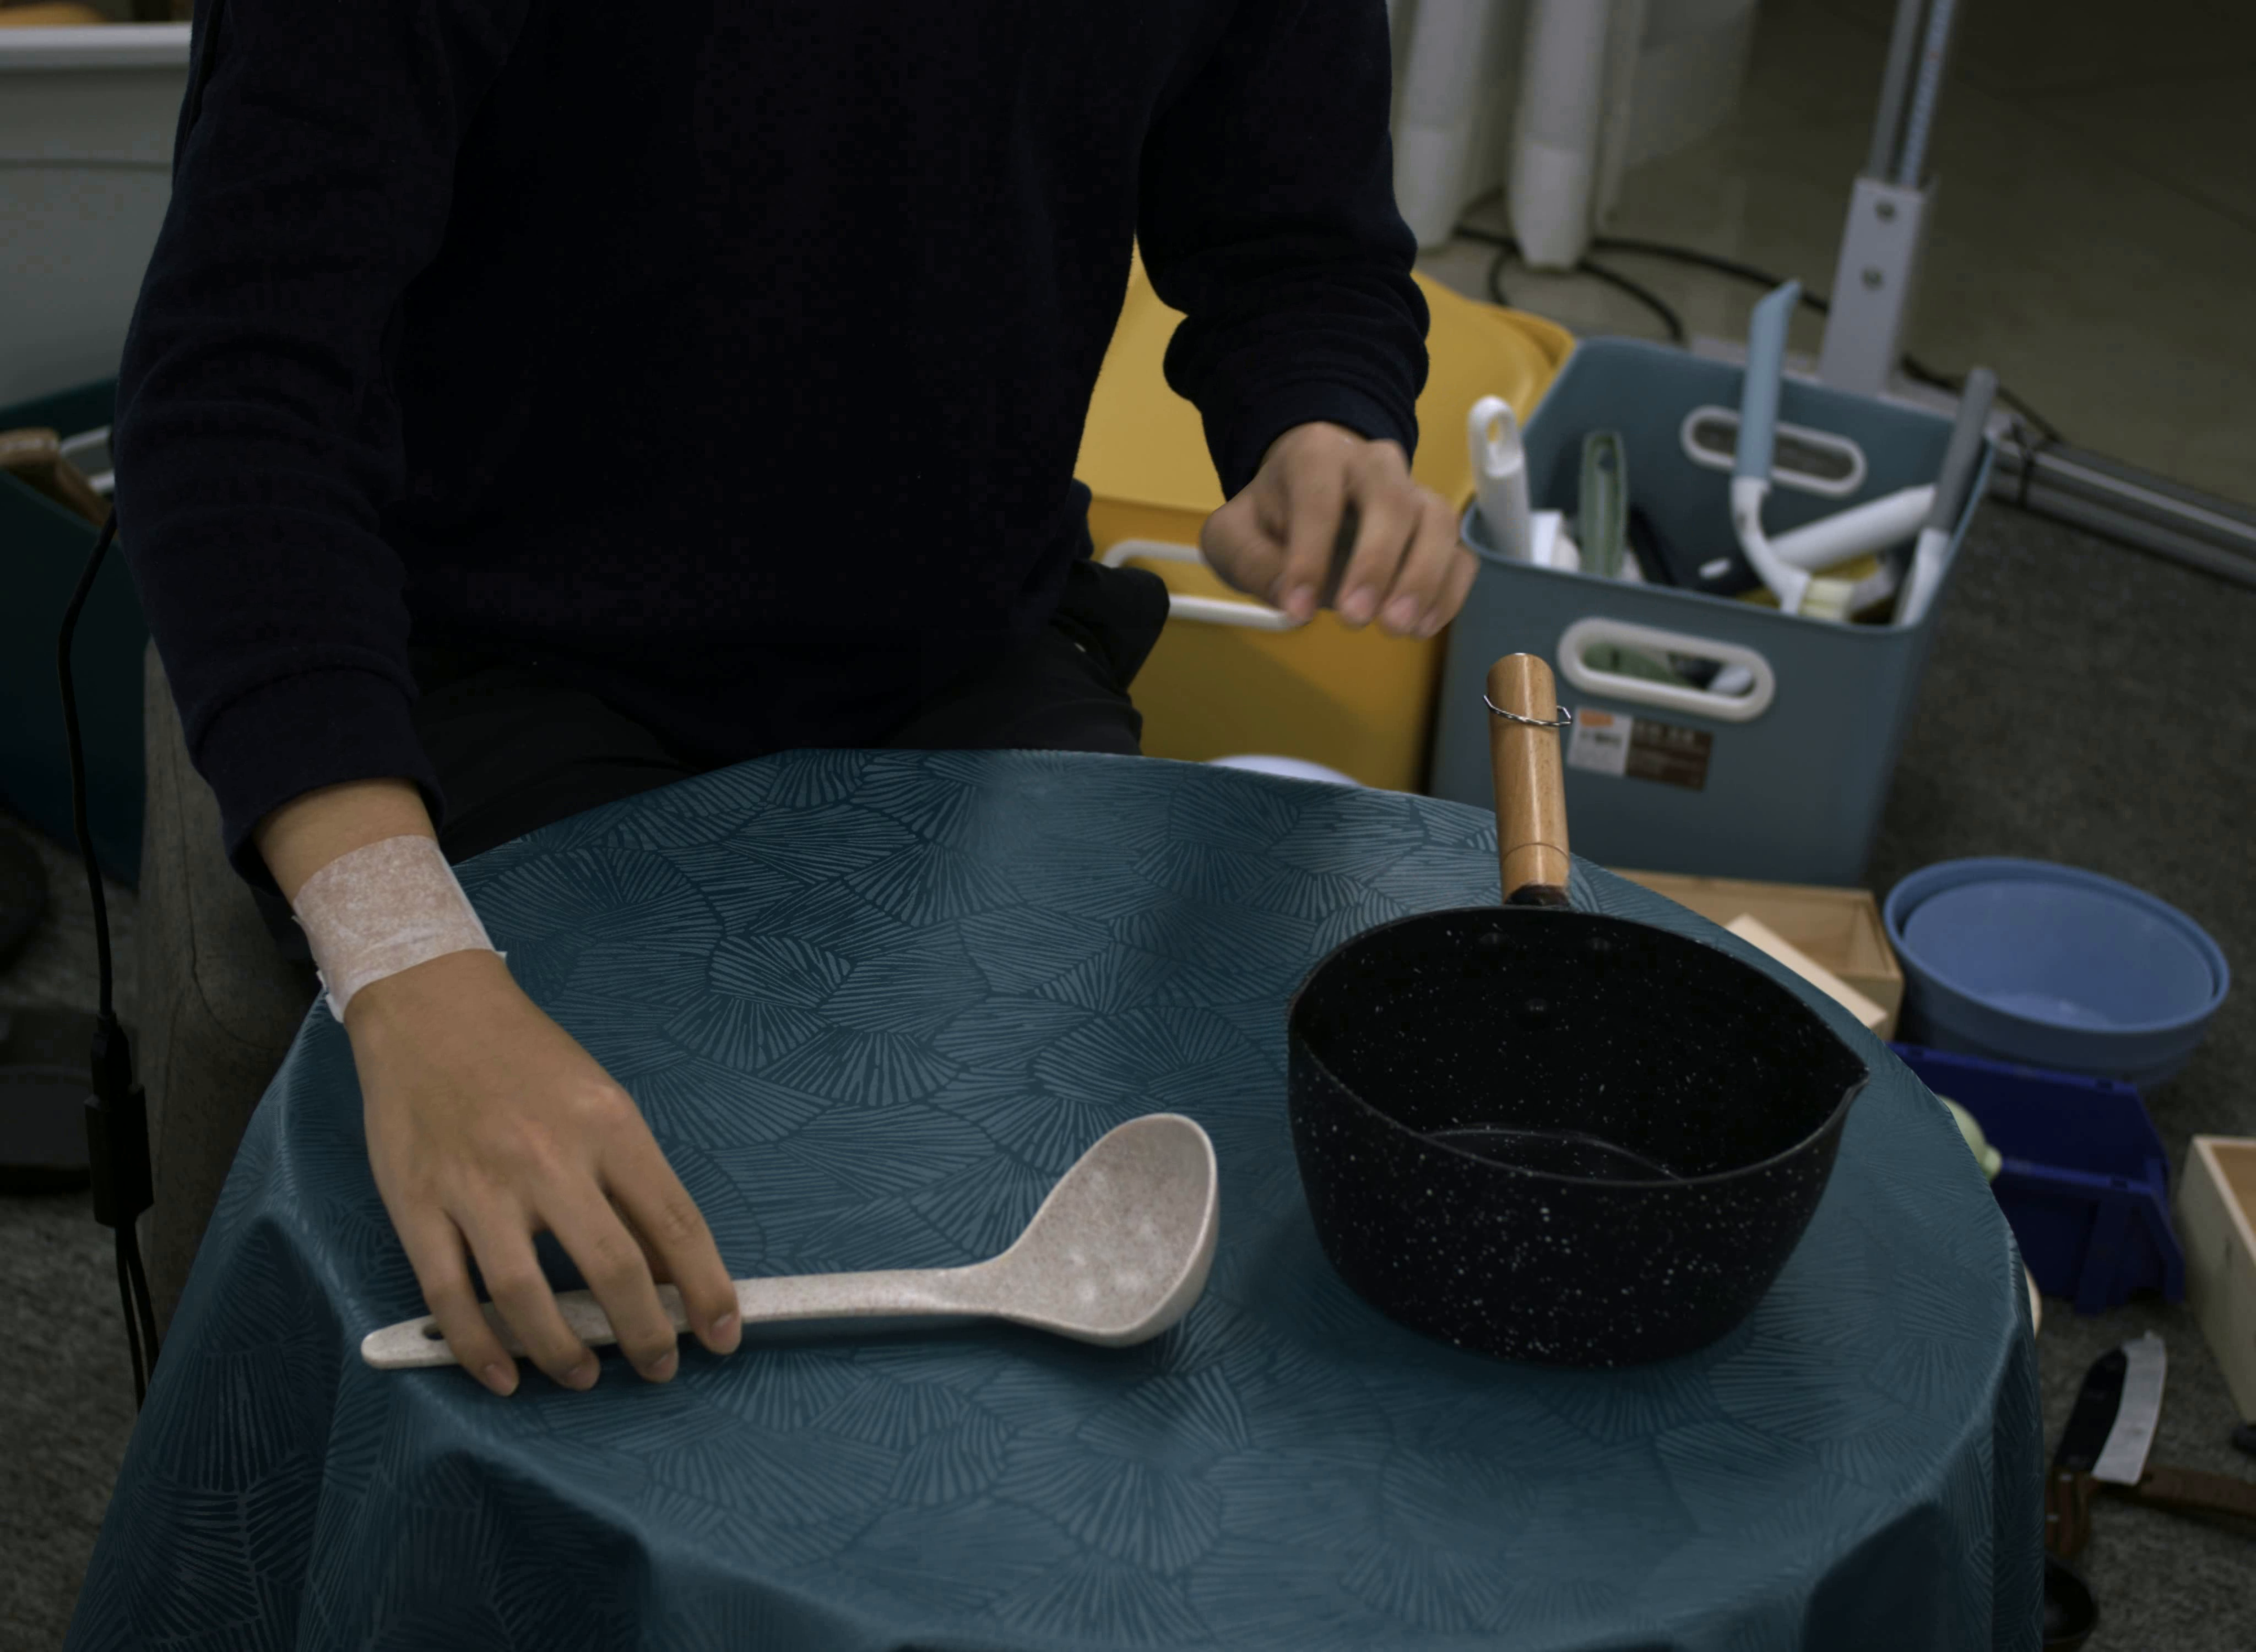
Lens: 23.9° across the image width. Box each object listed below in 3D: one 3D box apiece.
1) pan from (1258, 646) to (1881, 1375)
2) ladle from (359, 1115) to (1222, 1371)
[{"bbox_3d":[0.141,0.060,1.841,0.207,0.108,0.345,4,28,-4],"label":"pan"},{"bbox_3d":[-0.105,0.135,1.685,0.273,0.069,0.090,-2,37,-15],"label":"ladle"}]
